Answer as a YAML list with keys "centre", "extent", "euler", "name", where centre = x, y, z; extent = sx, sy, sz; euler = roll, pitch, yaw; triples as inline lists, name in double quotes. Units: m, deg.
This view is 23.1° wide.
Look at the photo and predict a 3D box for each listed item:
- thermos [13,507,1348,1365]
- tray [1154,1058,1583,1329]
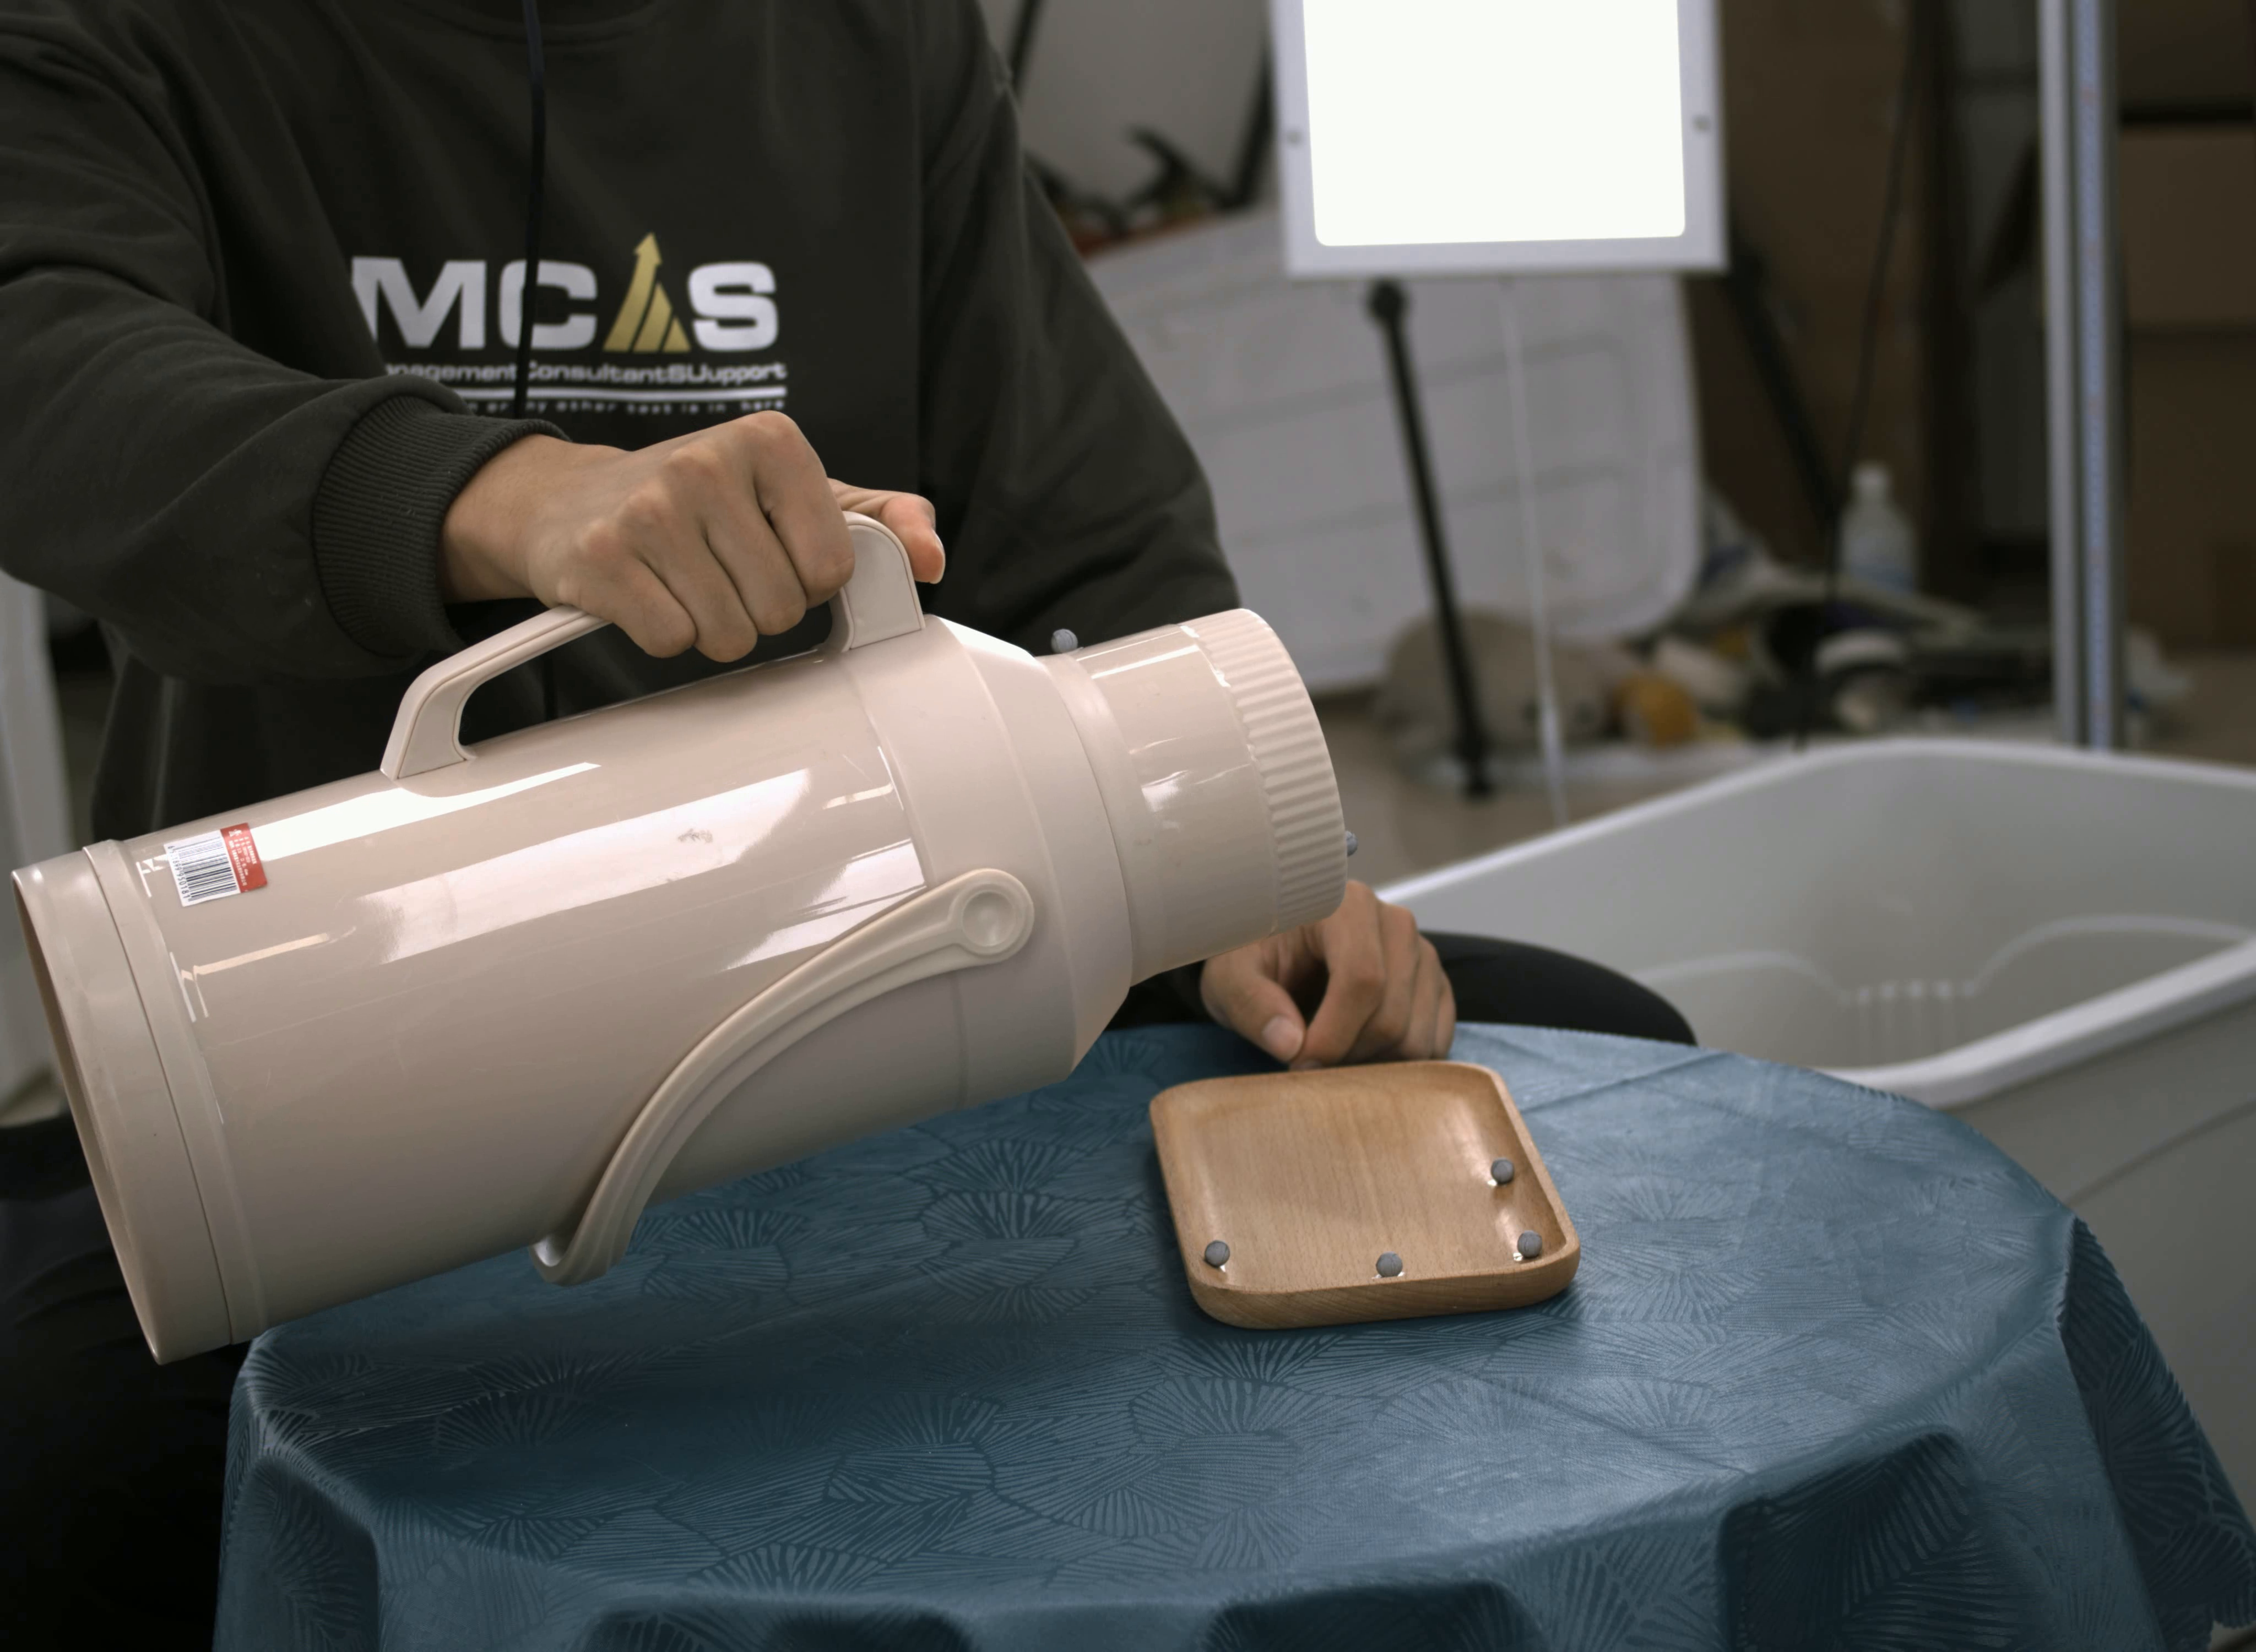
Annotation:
- centre: [-0.139, 0.021, 1.733]
  extent: [0.402, 0.207, 0.177]
  euler: [-17, 14, -10]
  name: "thermos"
- centre: [0.078, 0.122, 1.858]
  extent: [0.130, 0.023, 0.250]
  euler: [-3, 13, -1]
  name: "tray"
